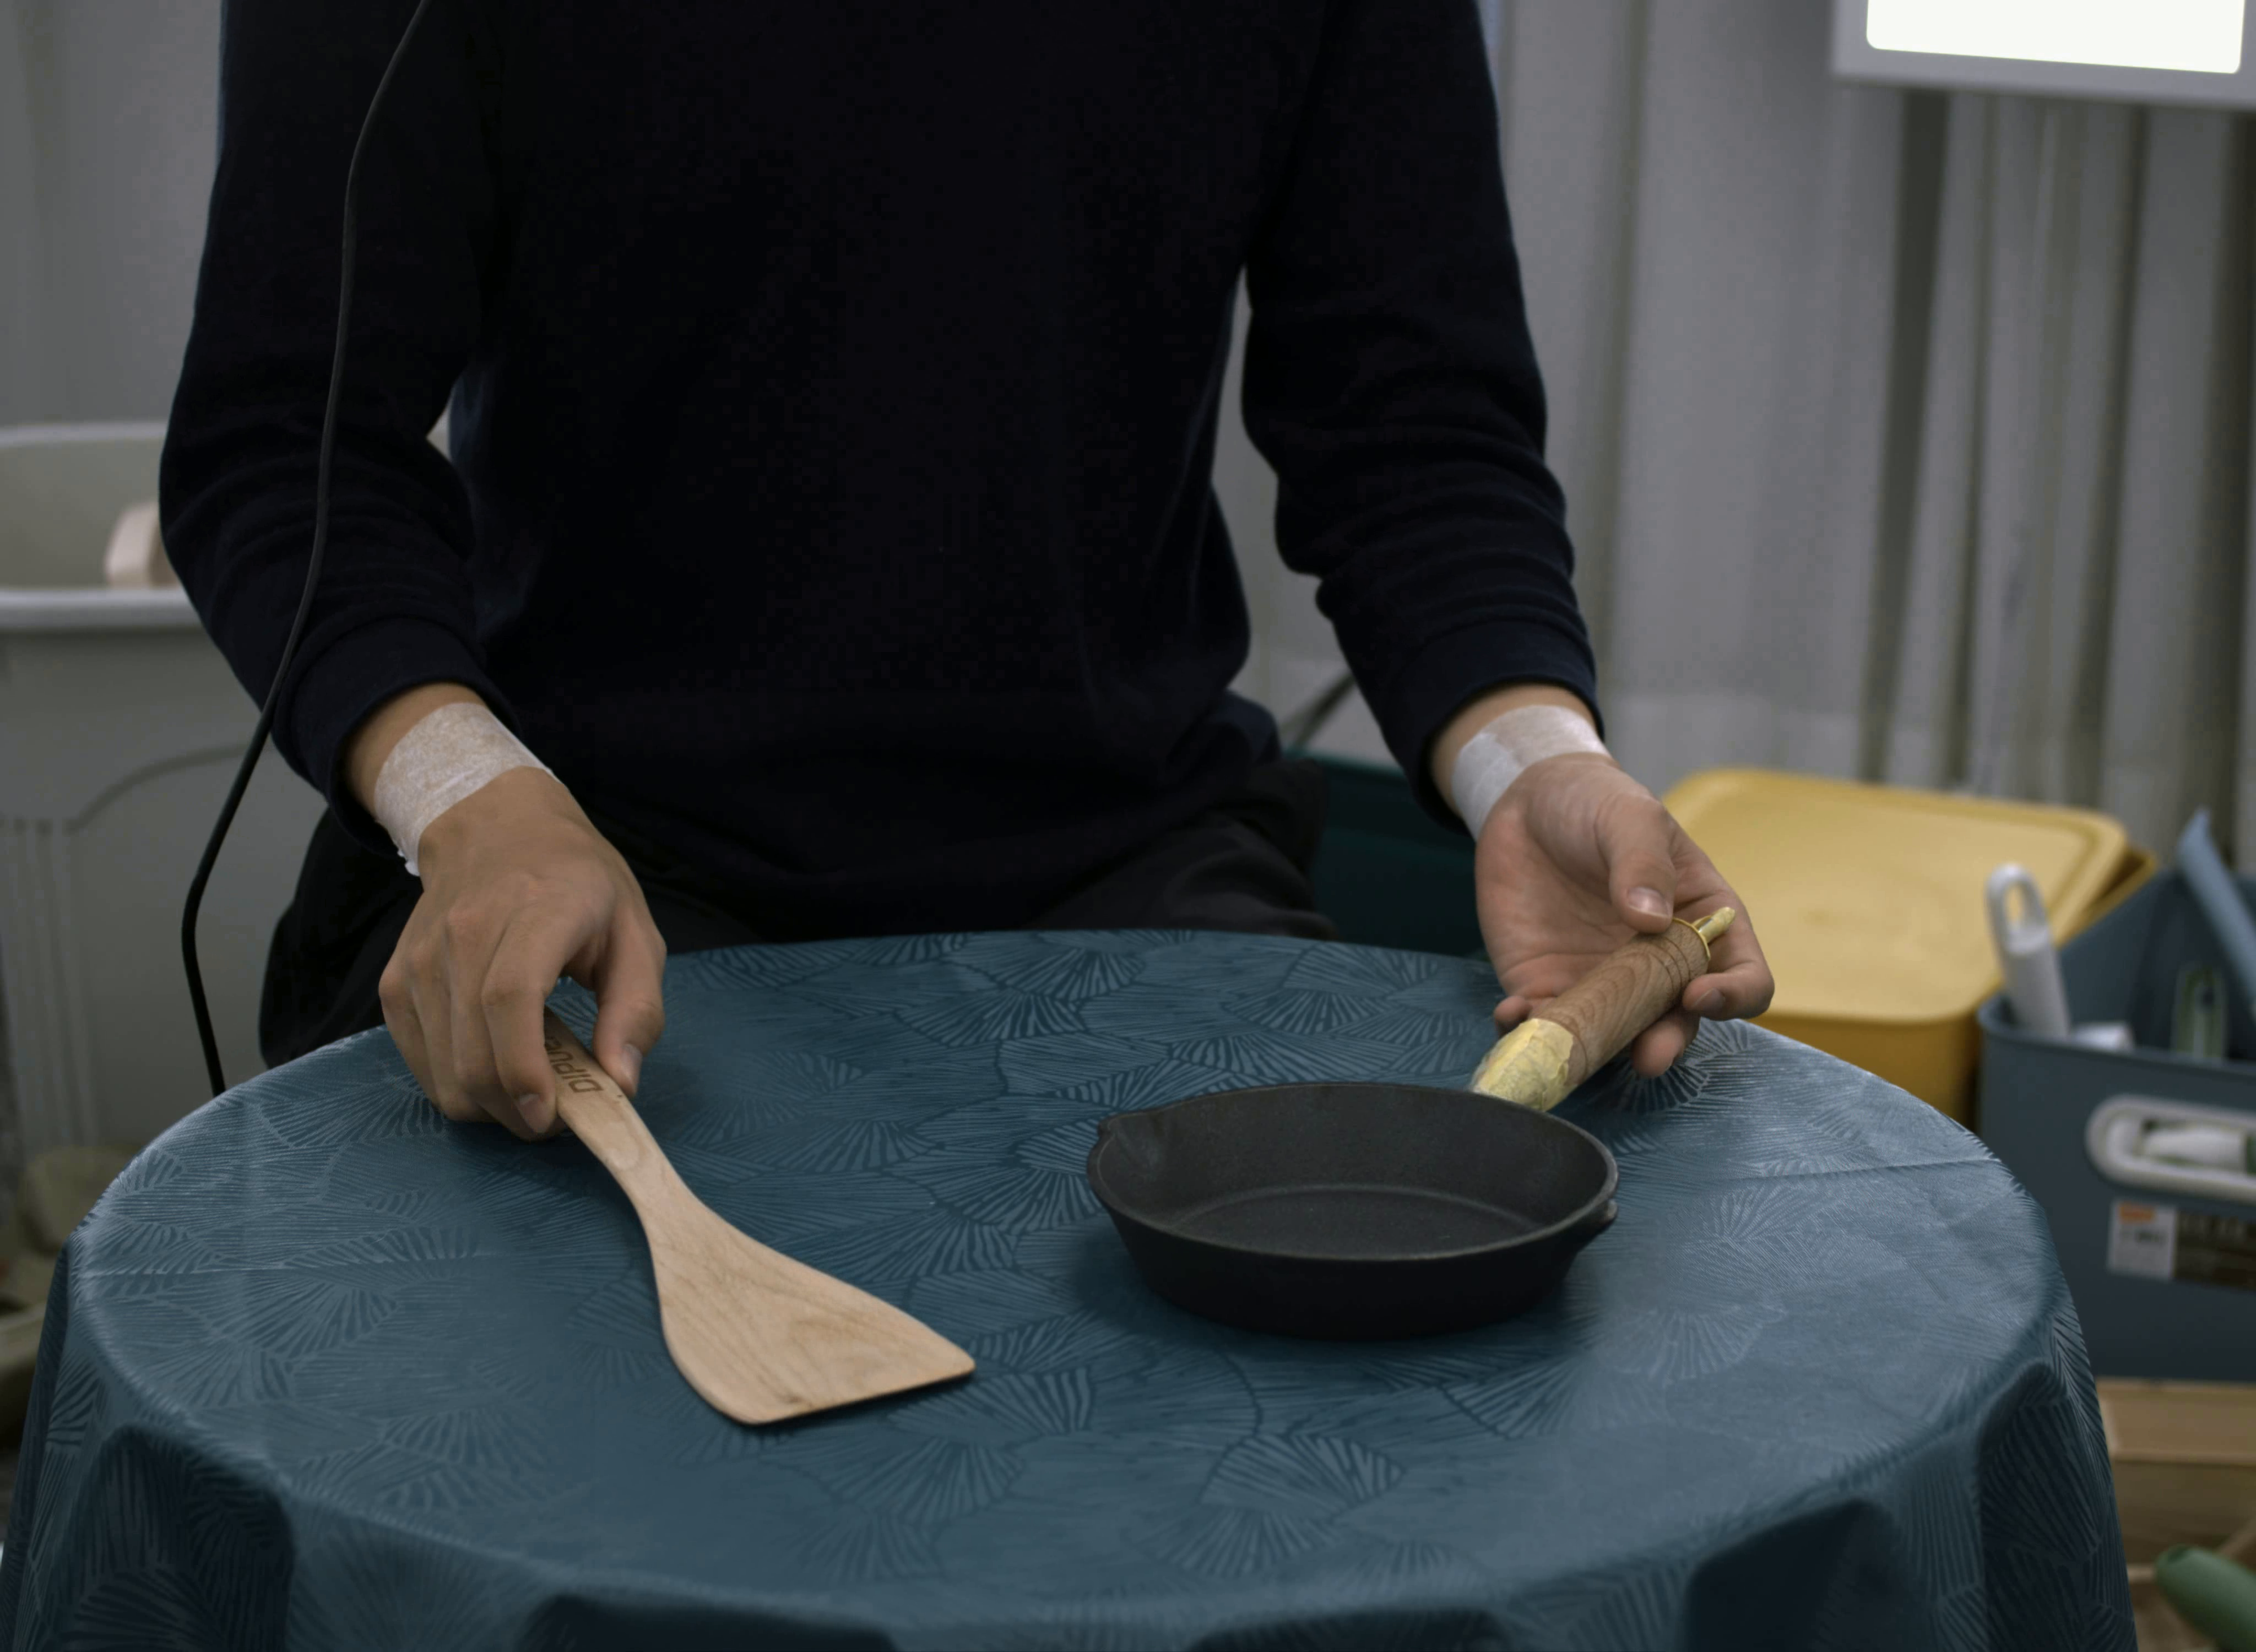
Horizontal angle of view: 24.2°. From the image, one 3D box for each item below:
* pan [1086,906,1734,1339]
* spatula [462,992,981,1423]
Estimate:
[{"bbox_3d":[0.111,0.087,1.622,0.167,0.050,0.325,10,20,31],"label":"pan"},{"bbox_3d":[-0.138,0.108,1.576,0.080,0.016,0.323,-5,23,-25],"label":"spatula"}]
